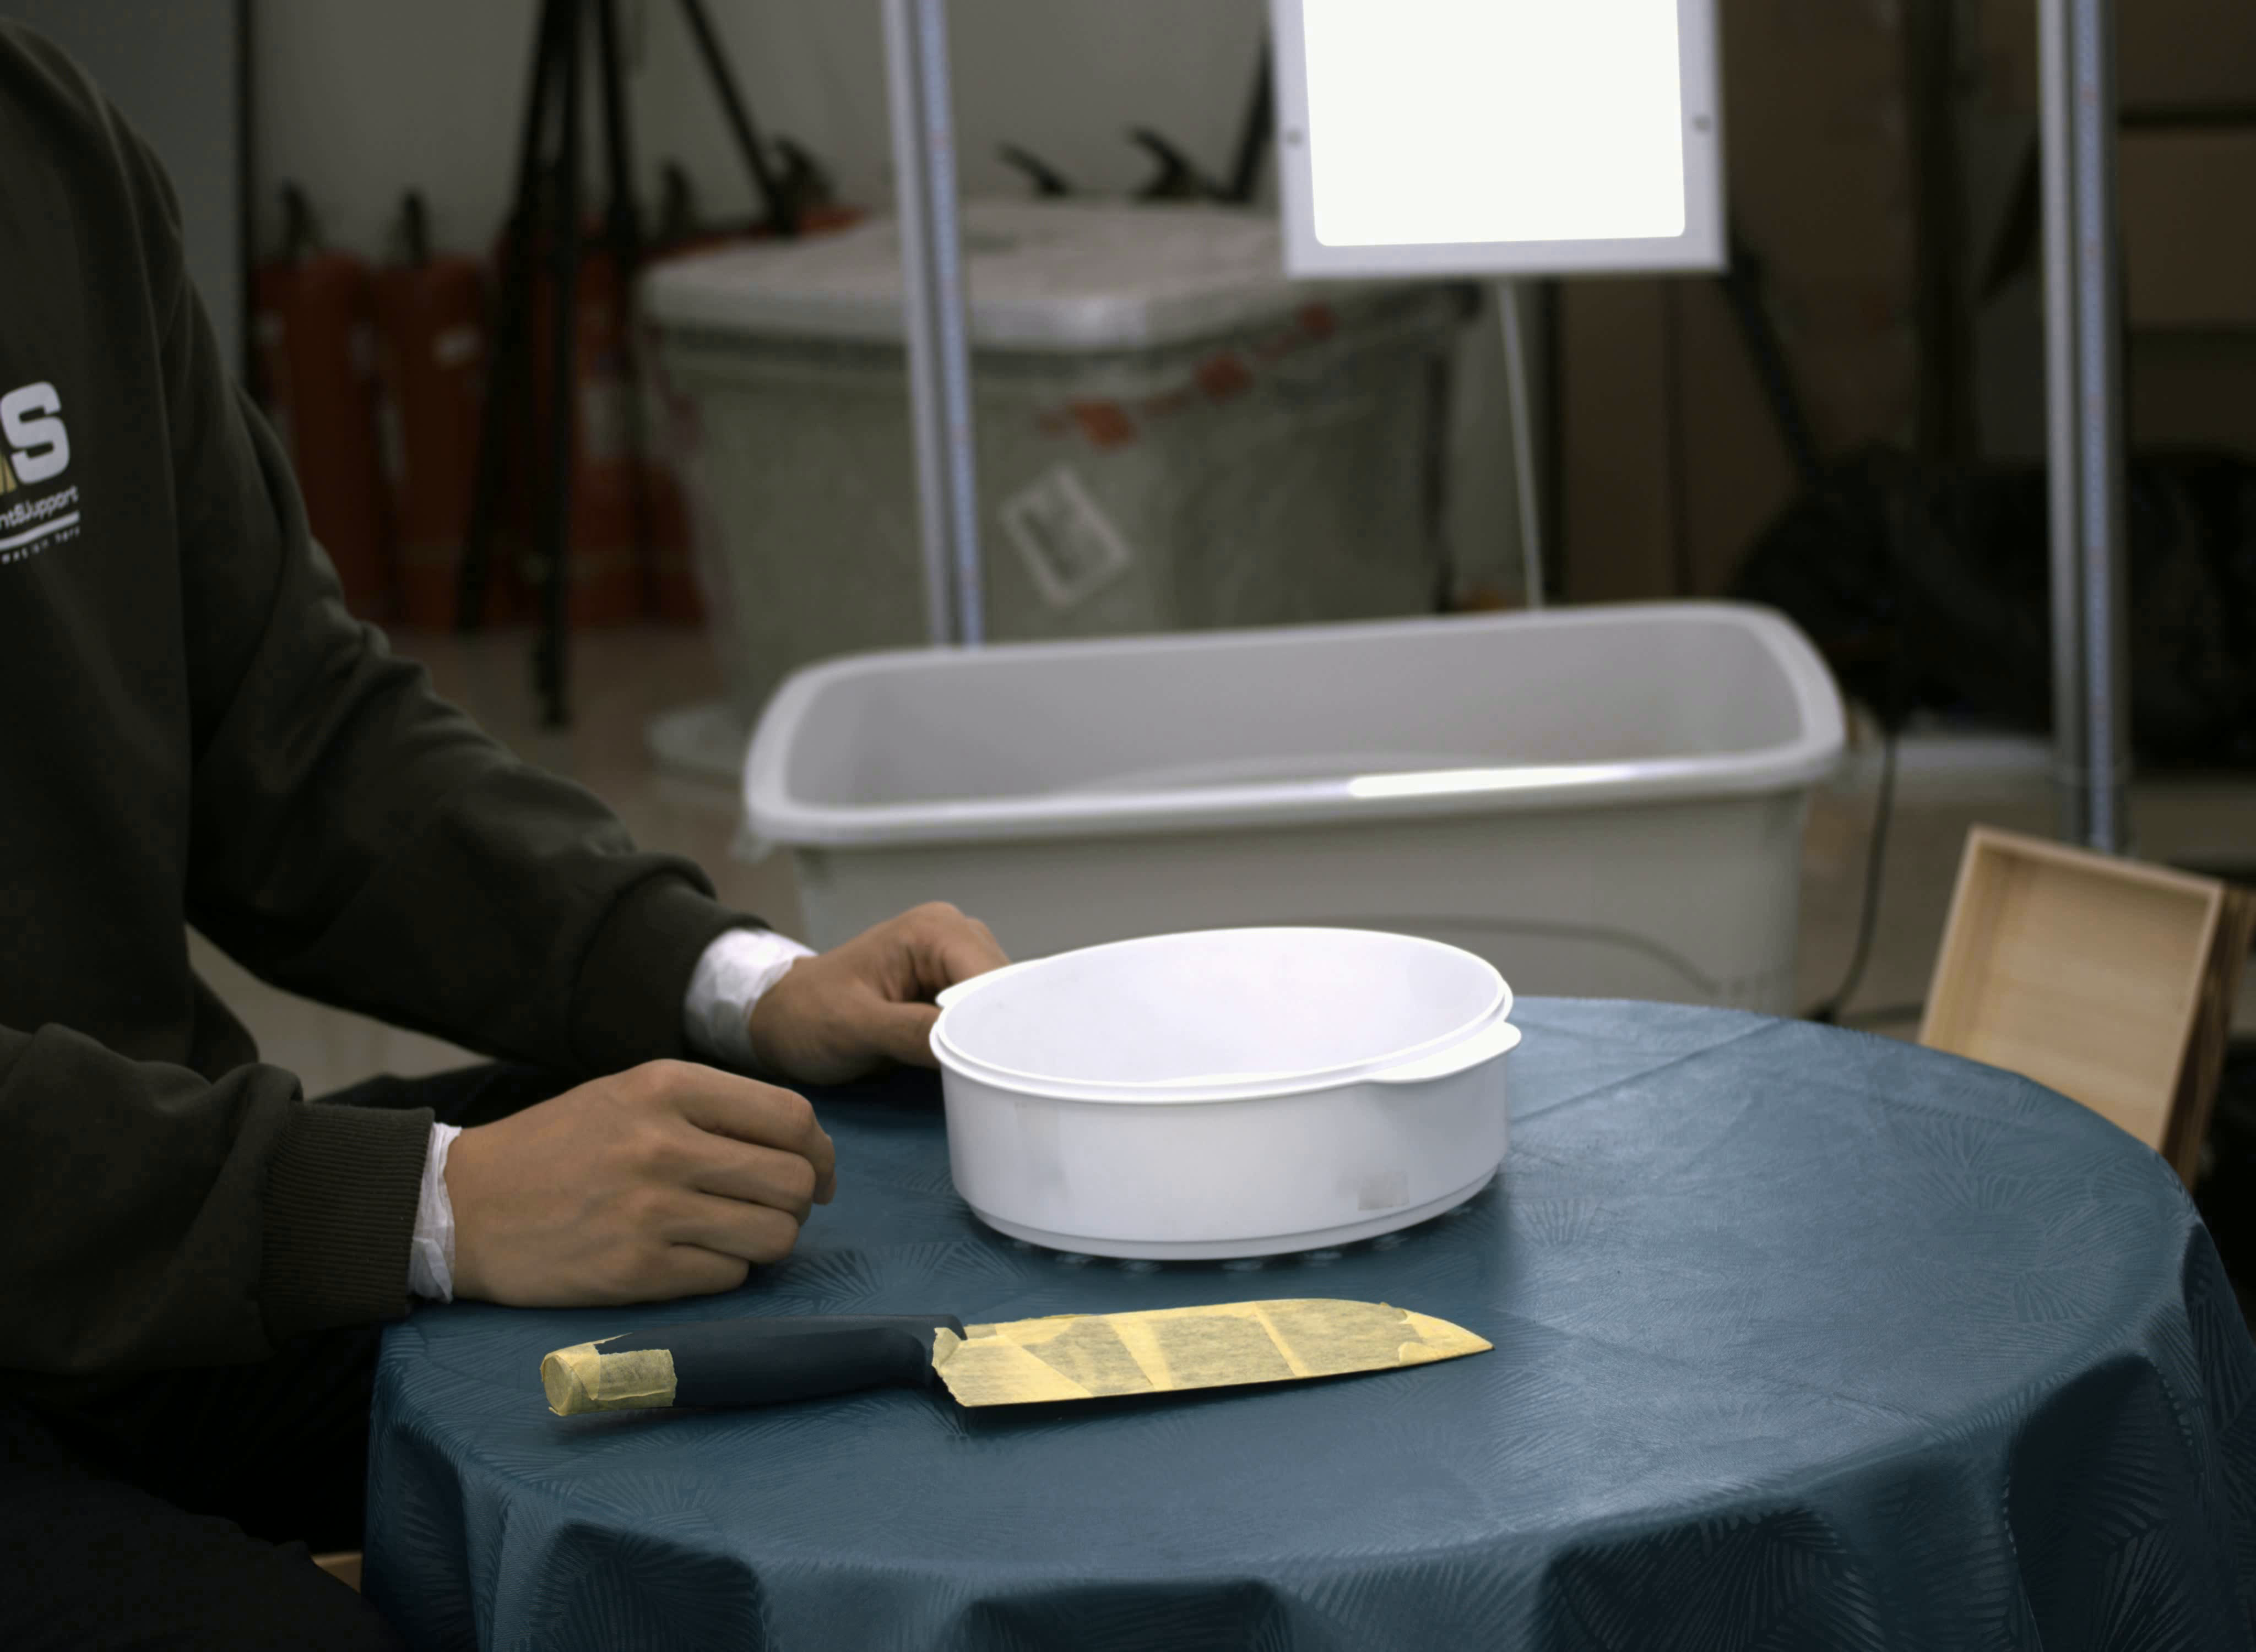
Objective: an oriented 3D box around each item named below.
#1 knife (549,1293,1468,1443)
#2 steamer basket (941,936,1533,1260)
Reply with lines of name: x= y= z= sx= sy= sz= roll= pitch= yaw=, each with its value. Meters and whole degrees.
knife: x=-0.035 y=0.168 z=1.714 sx=0.287 sy=0.027 sz=0.081 roll=-6 pitch=12 yaw=-5
steamer basket: x=0.038 y=0.093 z=1.886 sx=0.235 sy=0.069 sz=0.197 roll=6 pitch=17 yaw=43
